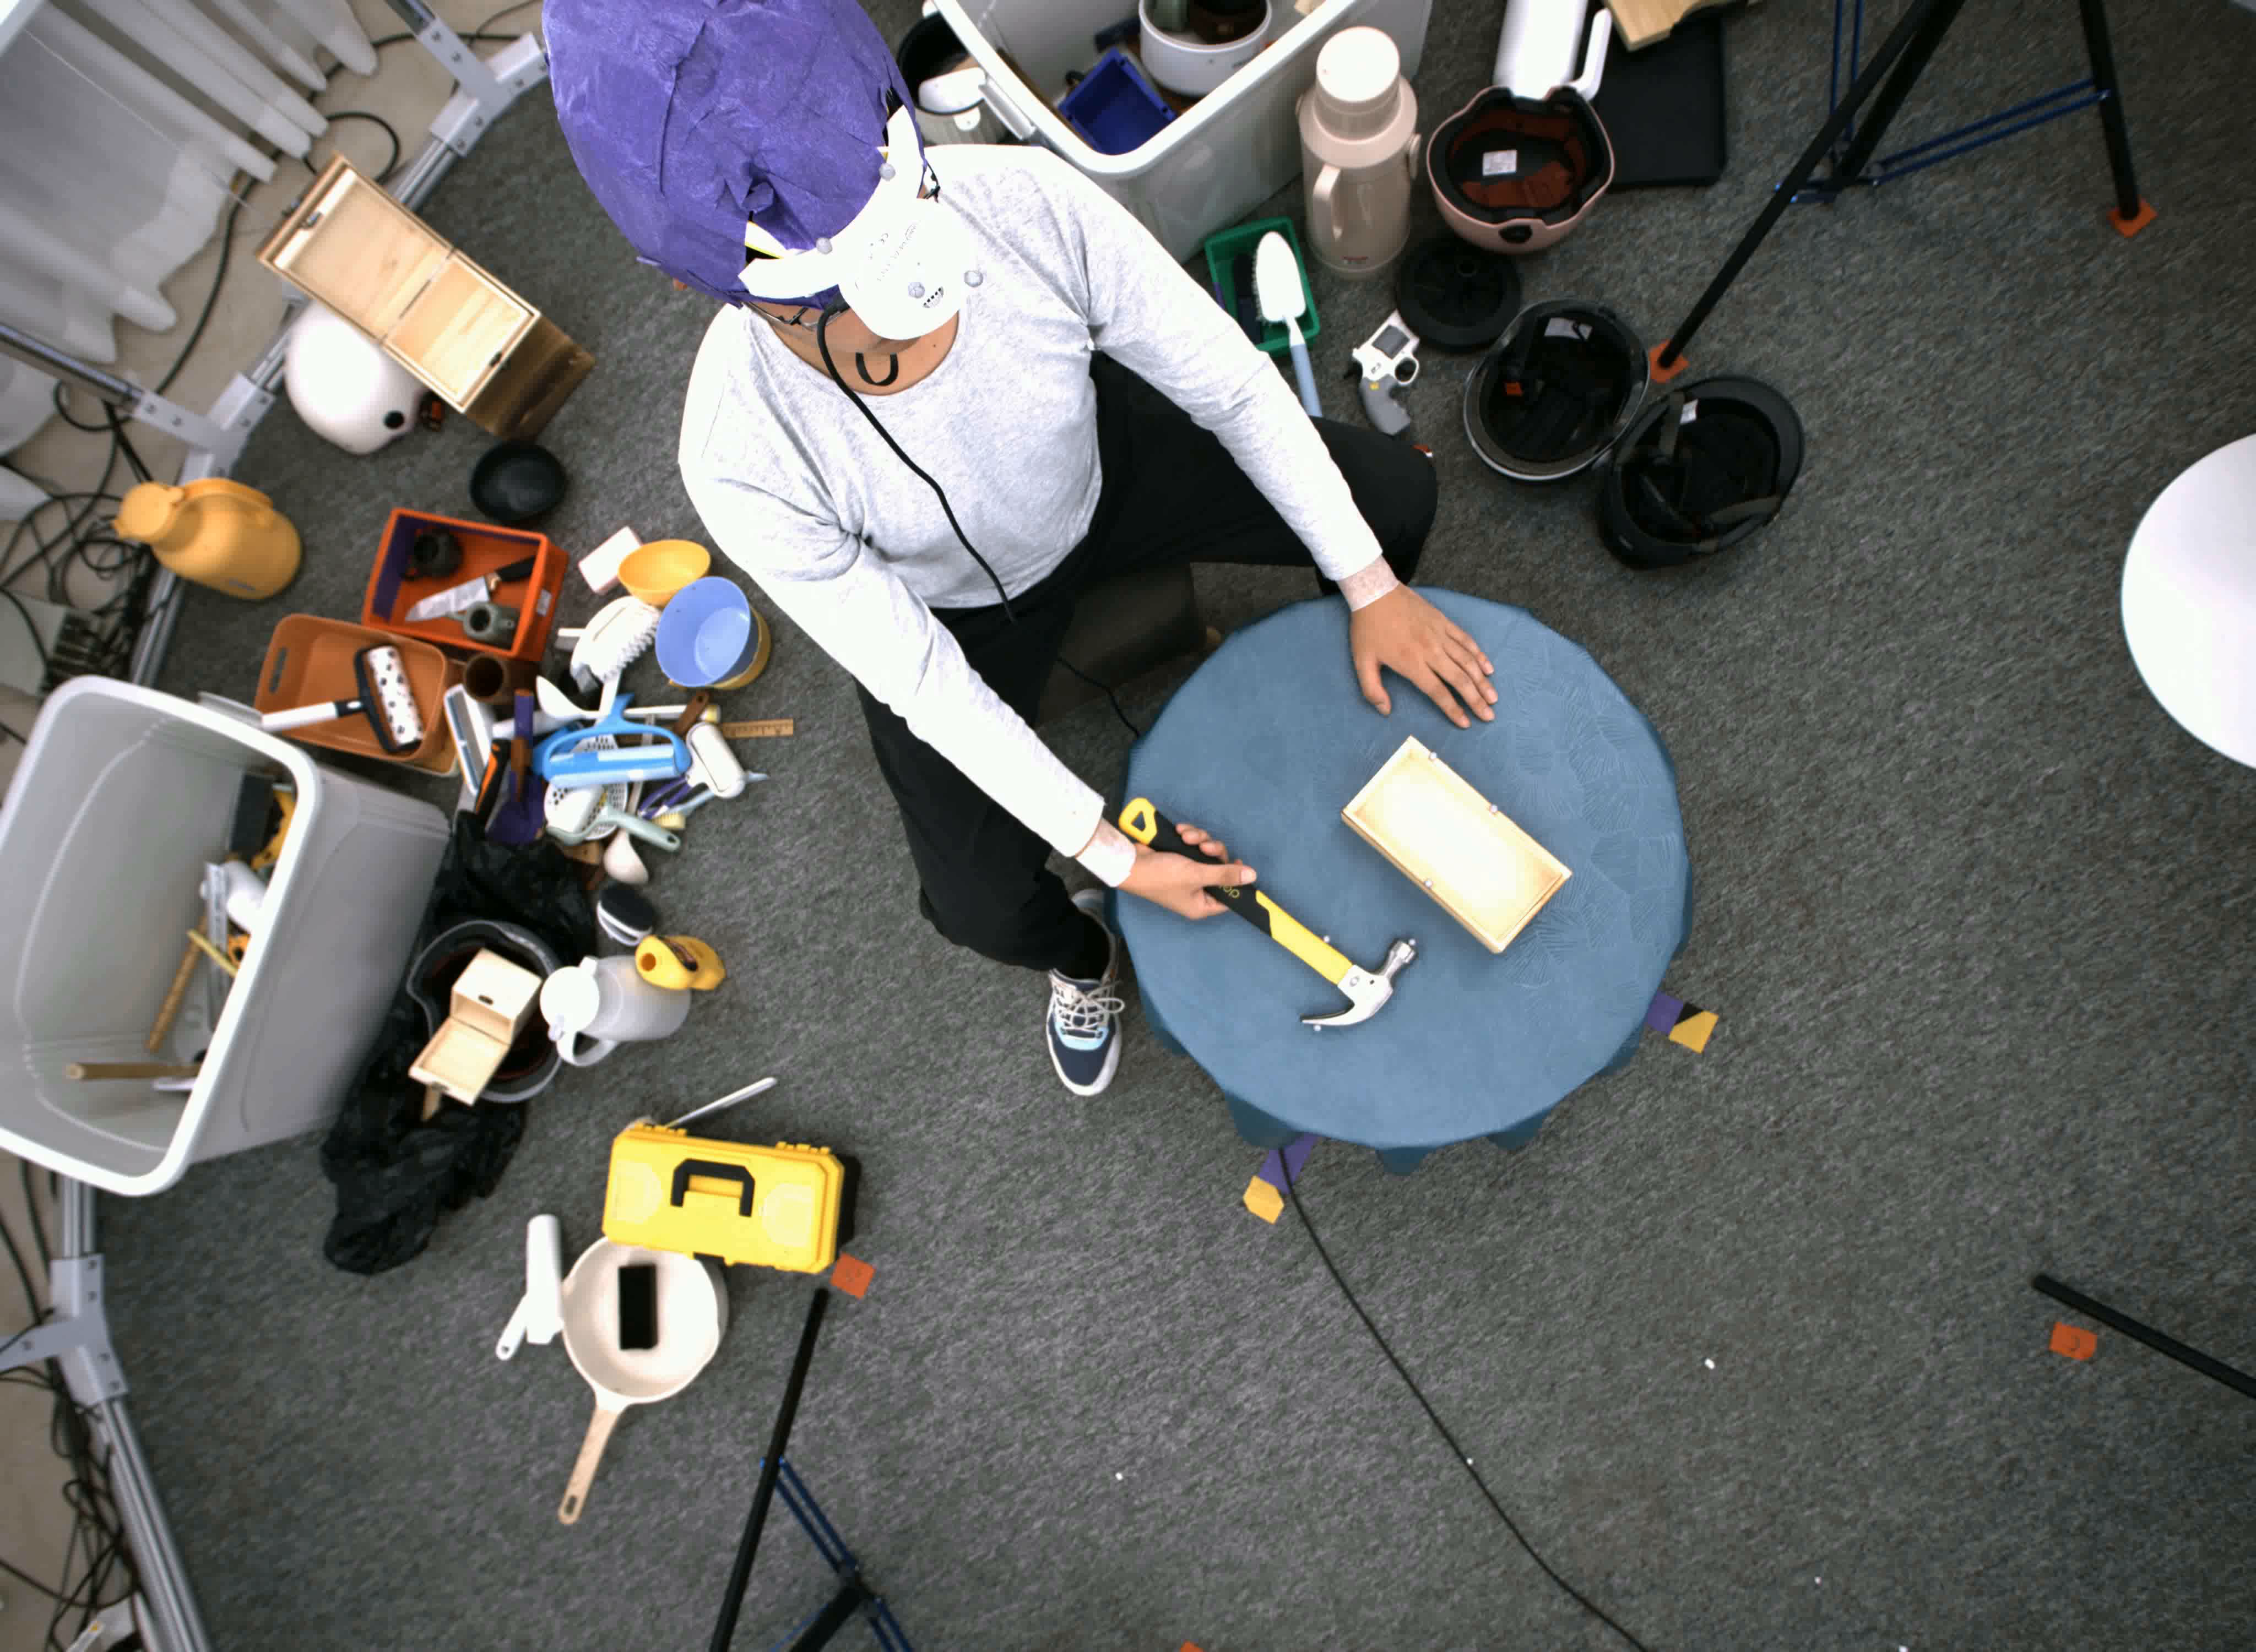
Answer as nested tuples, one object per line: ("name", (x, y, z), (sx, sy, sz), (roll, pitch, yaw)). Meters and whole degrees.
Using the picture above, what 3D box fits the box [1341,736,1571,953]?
("box", (0.334, 0.019, 1.412), (0.210, 0.080, 0.108), (42, 95, 10))

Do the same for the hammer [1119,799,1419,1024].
("hammer", (0.132, 0.083, 1.455), (0.338, 0.032, 0.132), (37, 95, 4))
